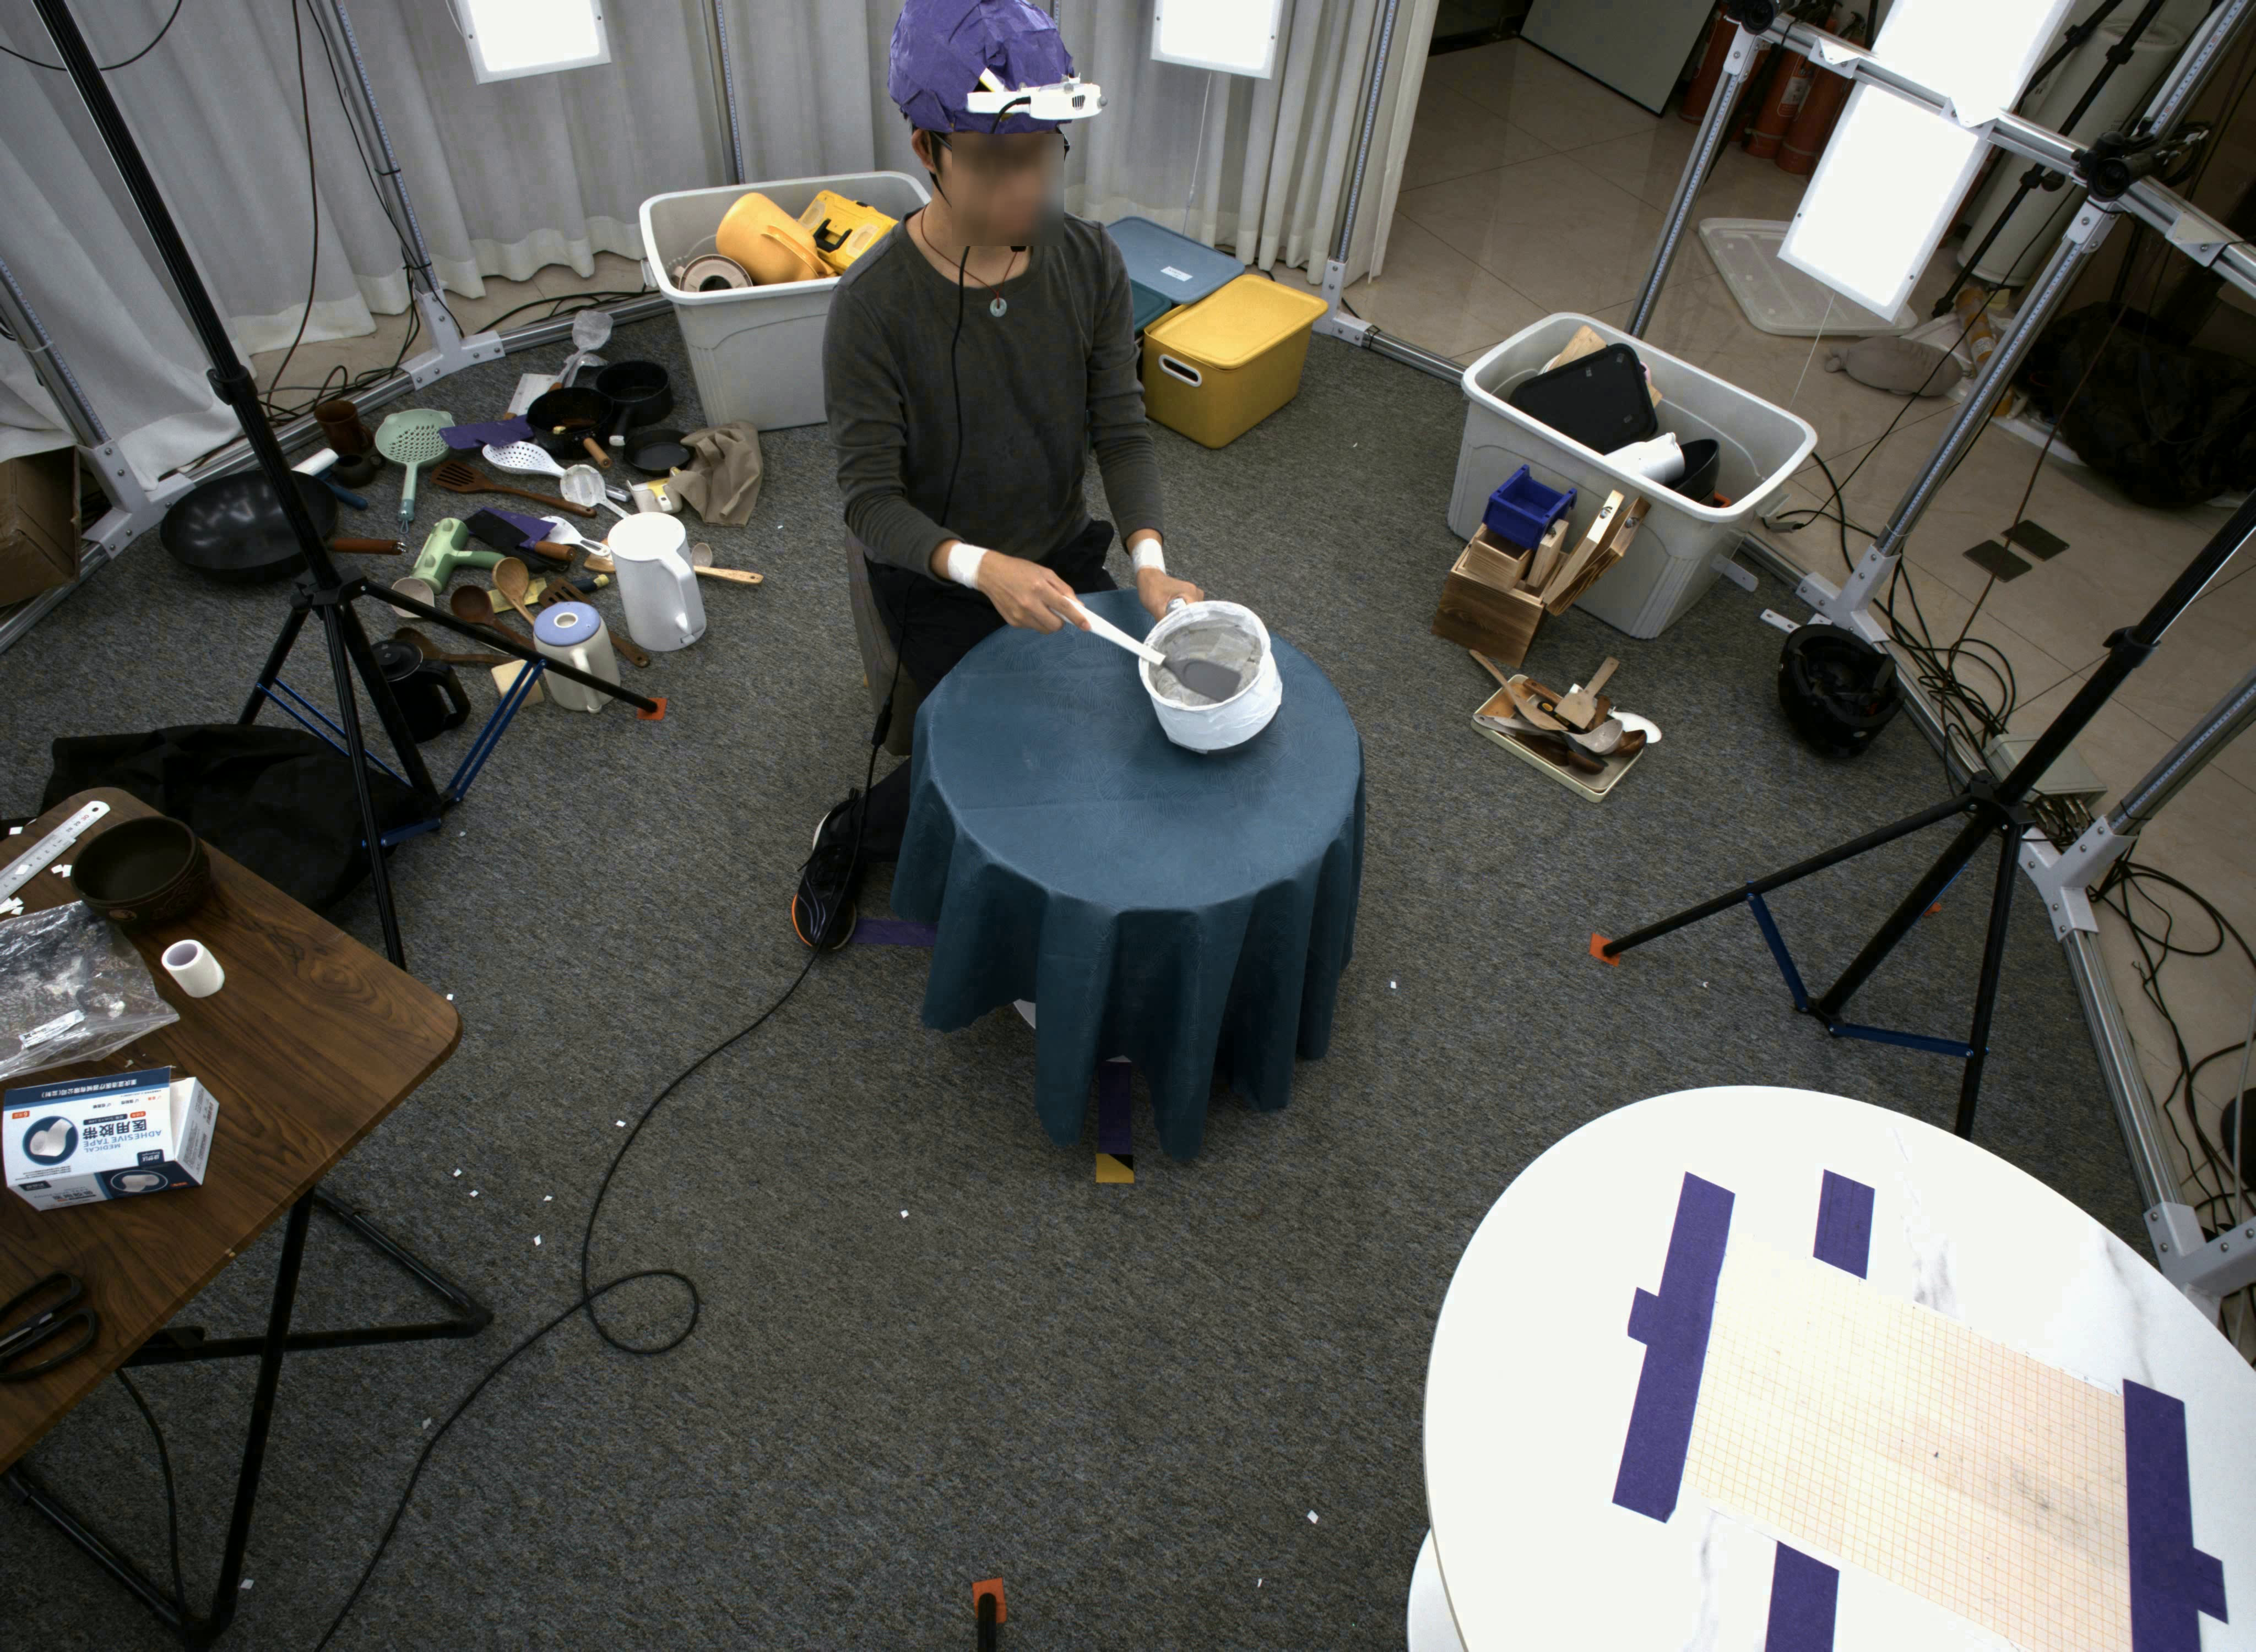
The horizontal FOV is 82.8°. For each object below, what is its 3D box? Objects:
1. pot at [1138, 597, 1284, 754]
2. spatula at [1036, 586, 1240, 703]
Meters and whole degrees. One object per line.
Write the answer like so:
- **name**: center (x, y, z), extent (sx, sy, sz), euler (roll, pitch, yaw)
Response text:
- **pot**: center (0.105, -0.218, 1.750), extent (0.178, 0.133, 0.239), euler (-26, 56, 2)
- **spatula**: center (0.012, -0.238, 1.699), extent (0.287, 0.032, 0.059), euler (27, 63, 0)
